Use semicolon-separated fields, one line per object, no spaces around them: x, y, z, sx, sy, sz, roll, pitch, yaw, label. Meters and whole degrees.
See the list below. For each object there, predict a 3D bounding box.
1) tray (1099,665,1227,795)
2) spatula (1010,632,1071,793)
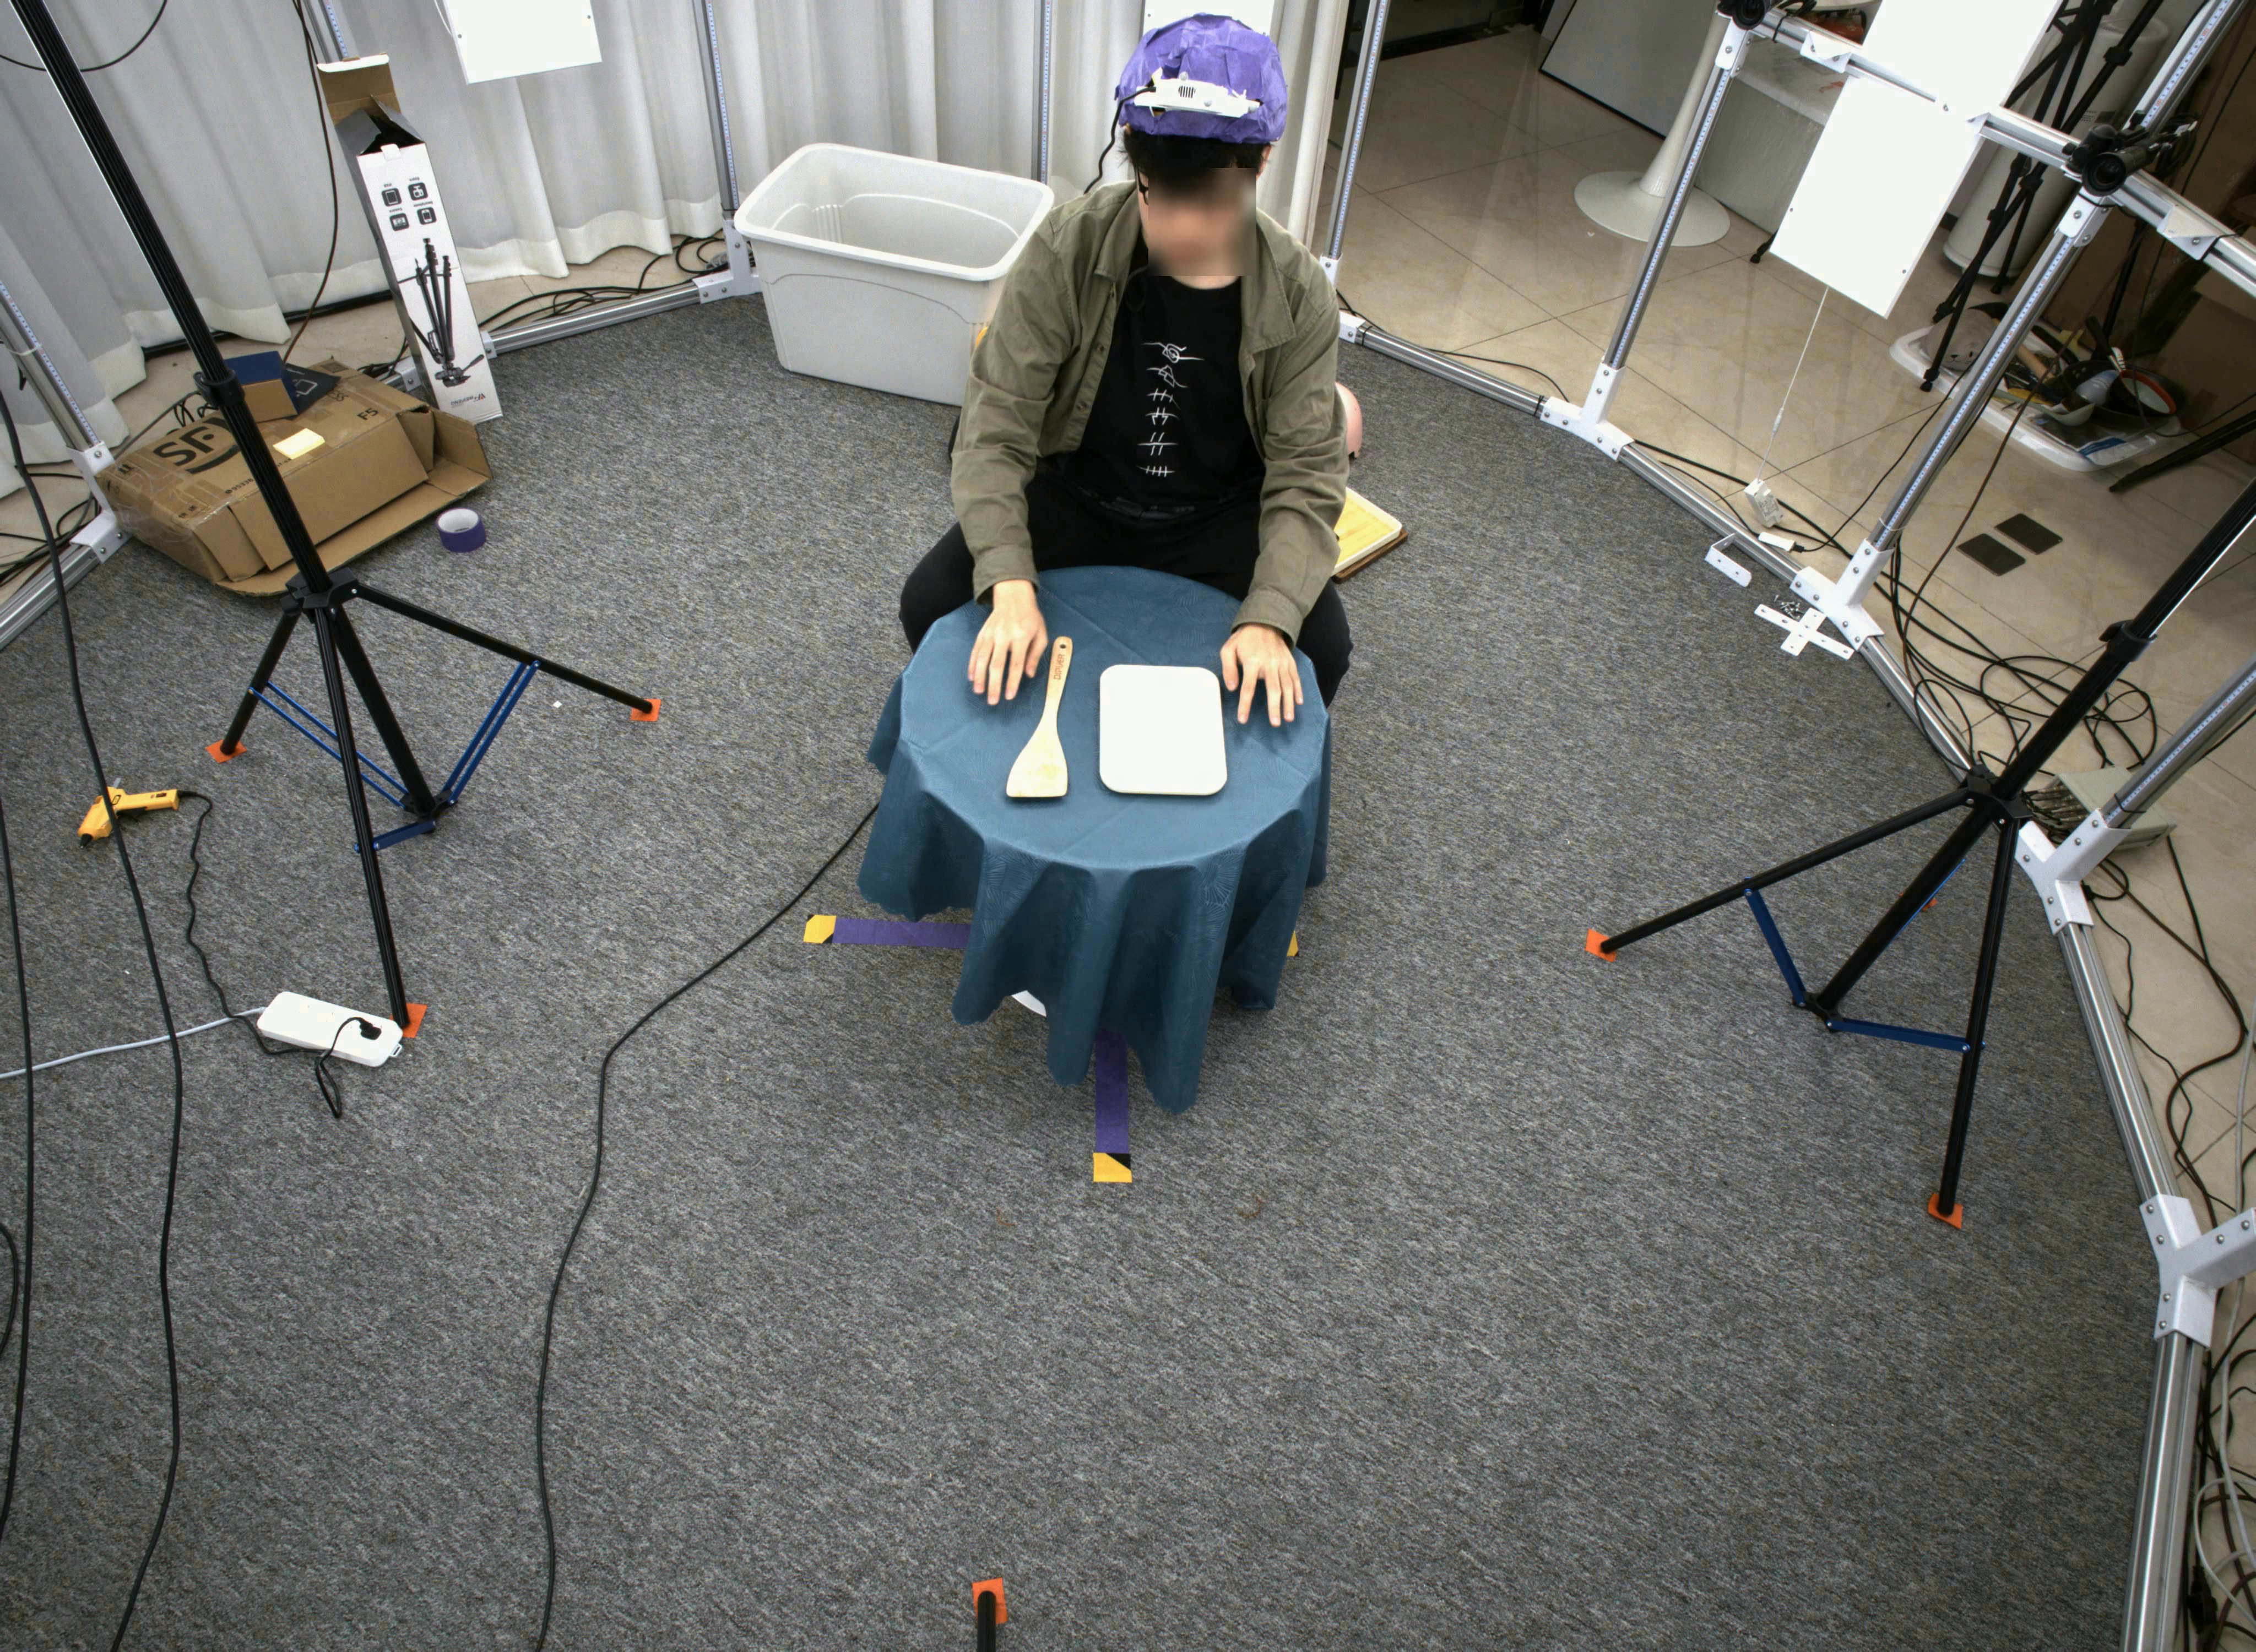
0.046;-0.133;1.767;0.171;0.017;0.246;2;48;-4;tray
-0.105;-0.161;1.779;0.080;0.016;0.335;6;49;-1;spatula
